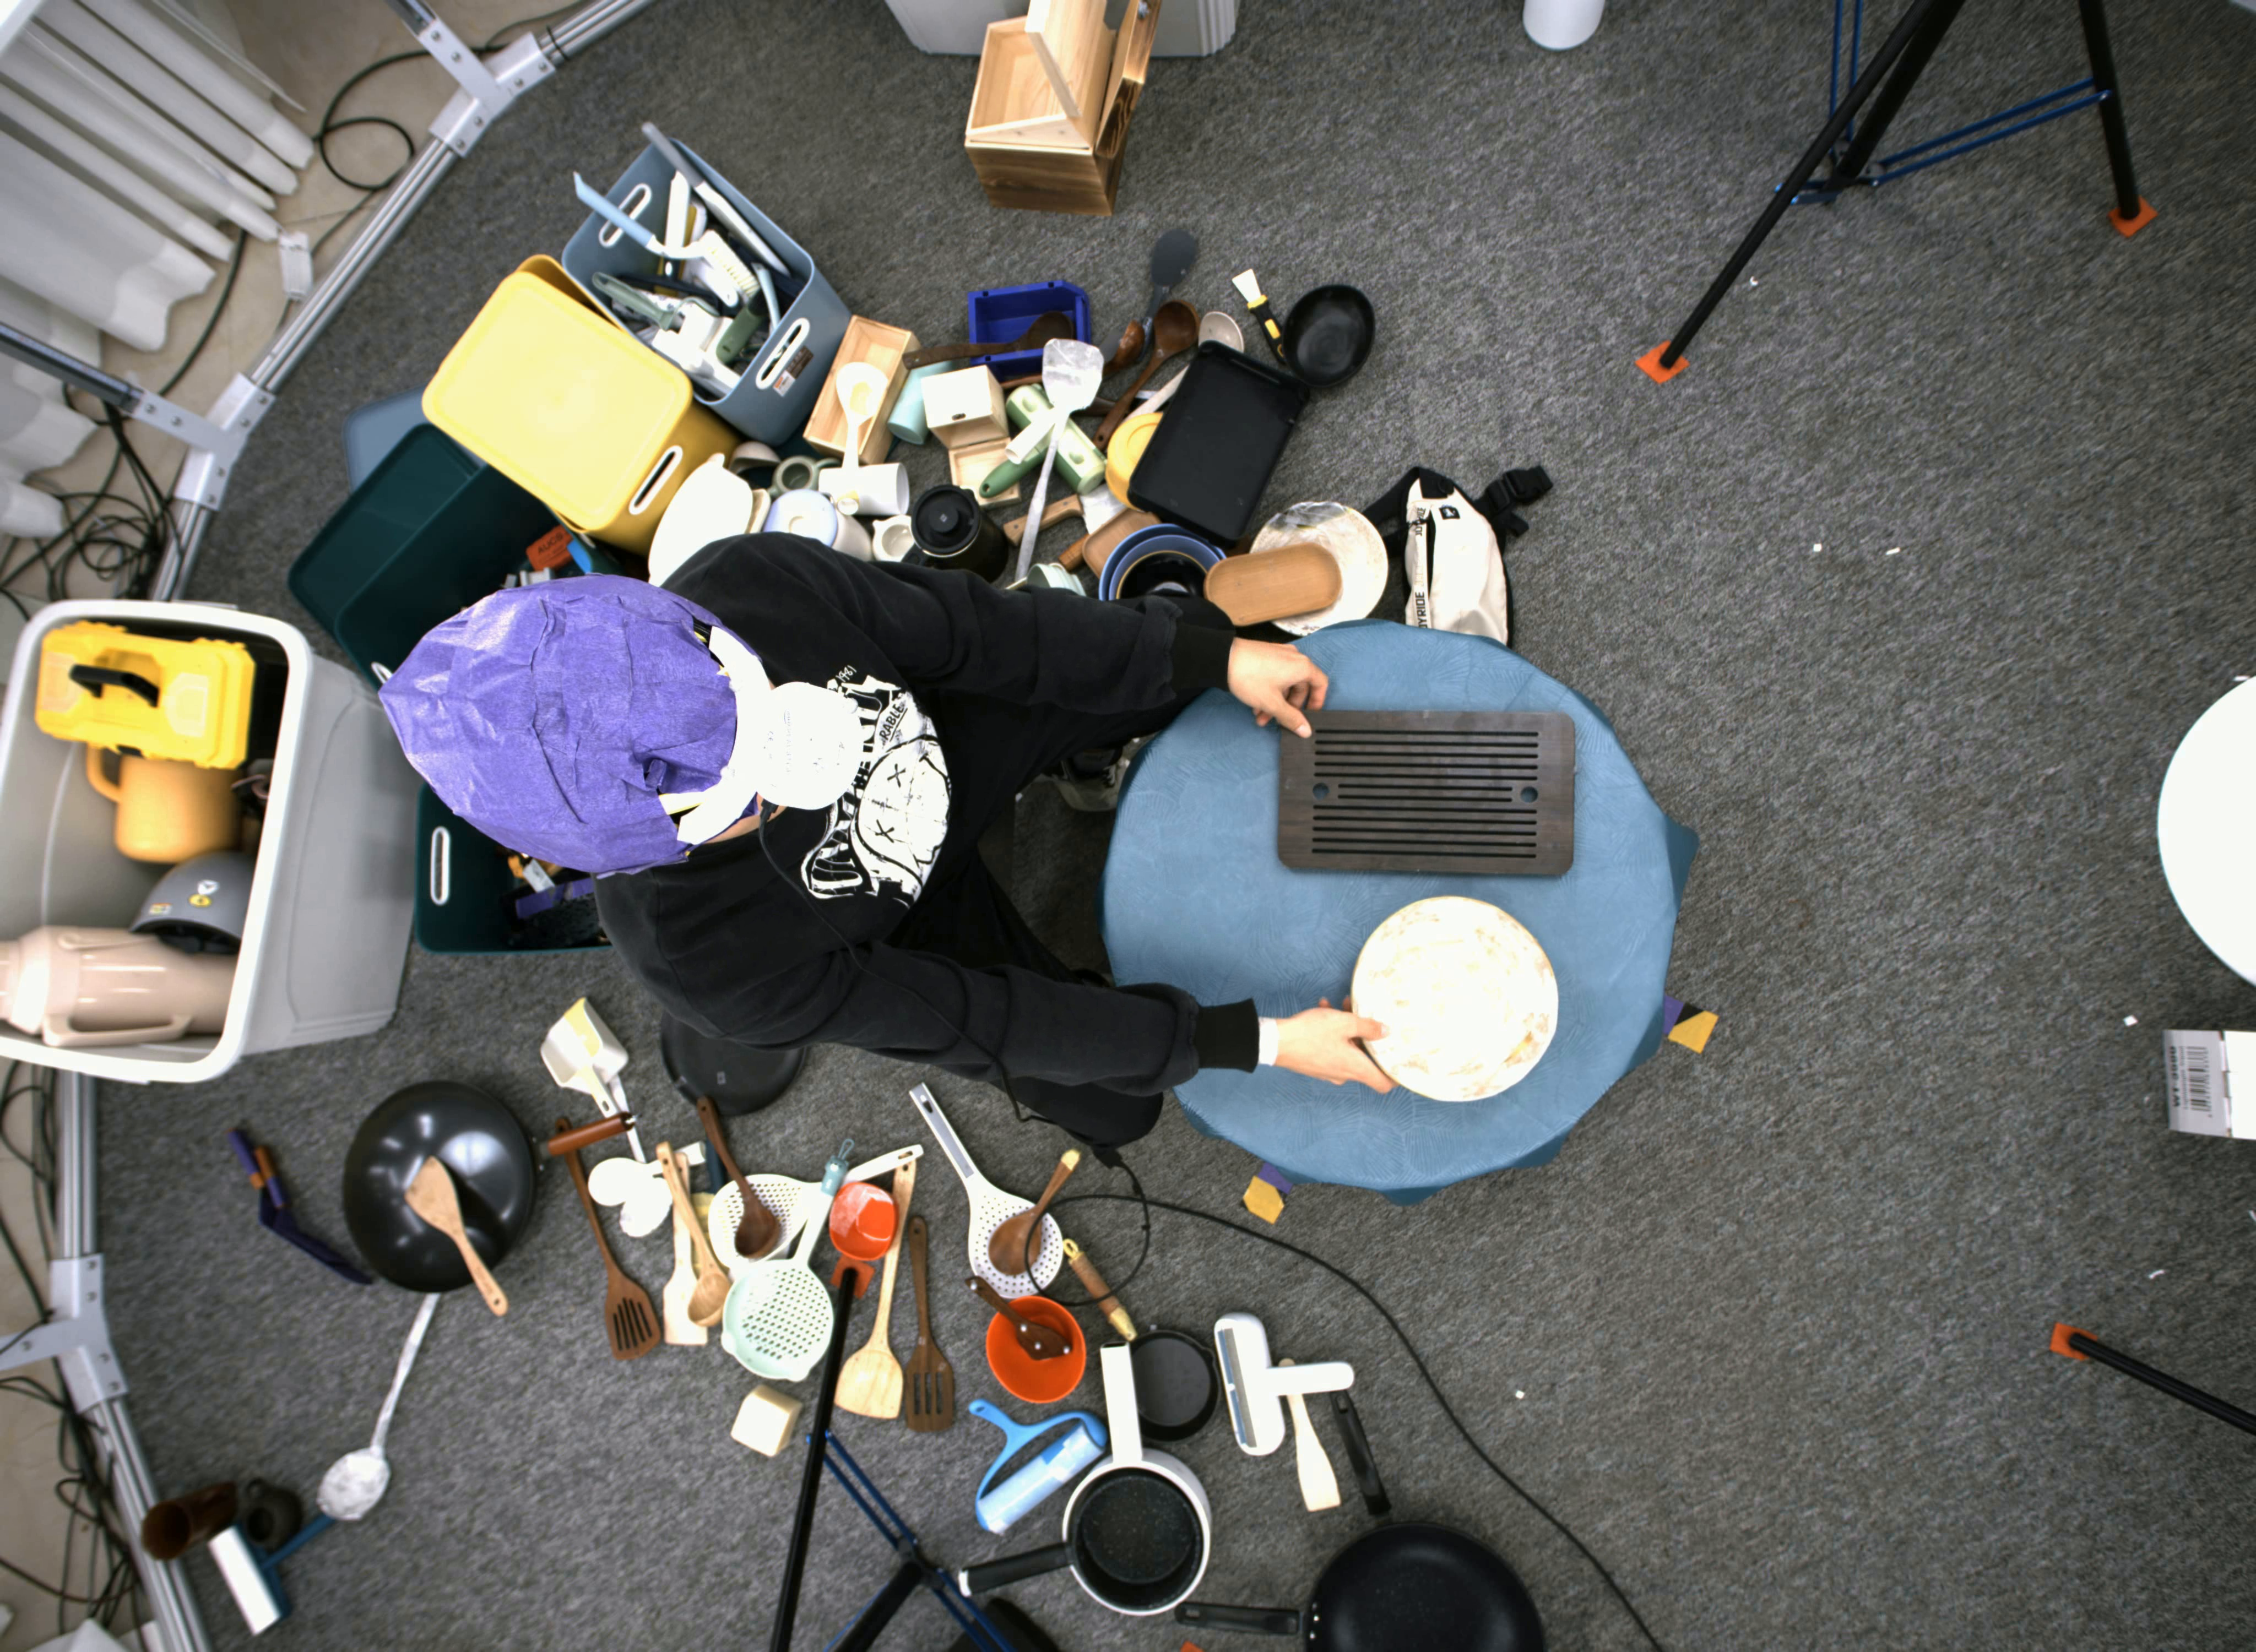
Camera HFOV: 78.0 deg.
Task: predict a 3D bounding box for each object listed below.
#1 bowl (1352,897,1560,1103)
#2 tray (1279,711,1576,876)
[{"bbox_3d":[0.328,0.170,1.401,0.215,0.094,0.214,-1,86,11],"label":"bowl"},{"bbox_3d":[0.314,-0.037,1.451,0.307,0.018,0.169,1,88,10],"label":"tray"}]
